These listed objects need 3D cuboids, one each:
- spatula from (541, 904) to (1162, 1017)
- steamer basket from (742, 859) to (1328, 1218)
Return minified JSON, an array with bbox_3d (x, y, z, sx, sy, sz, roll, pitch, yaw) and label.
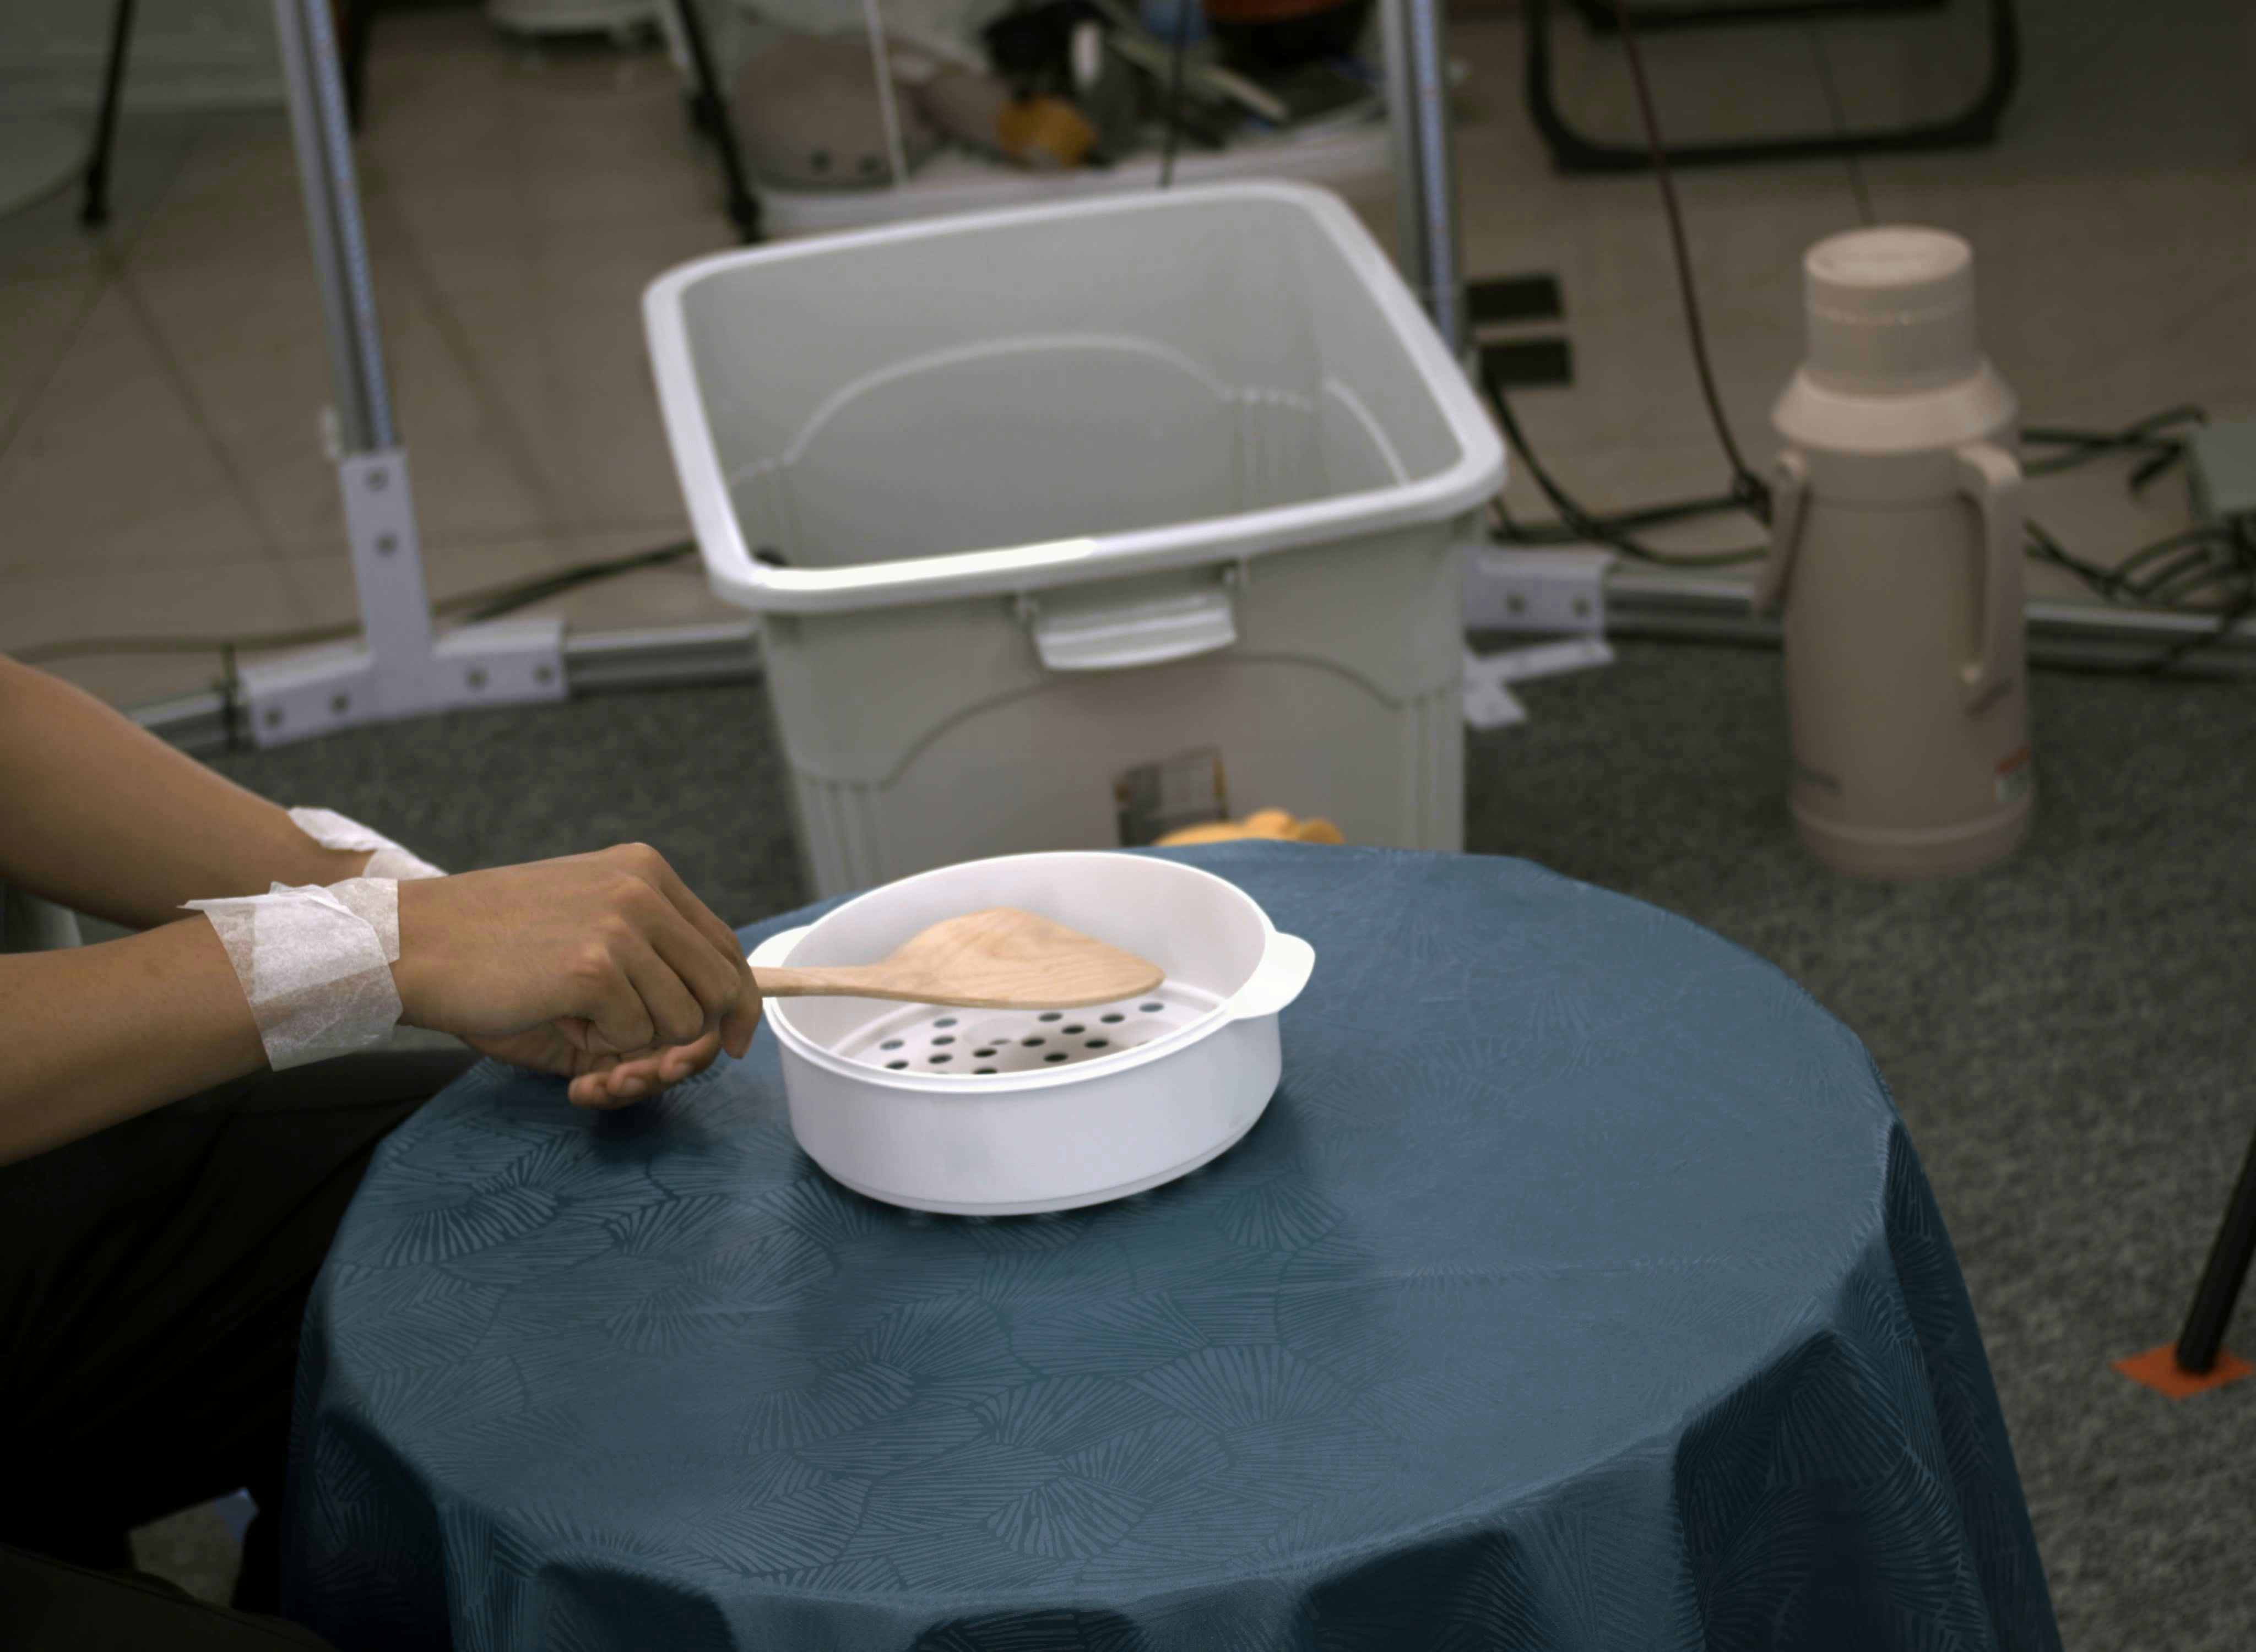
[{"bbox_3d":[-0.108,0.053,2.127,0.079,0.017,0.327,27,16,32],"label":"spatula"},{"bbox_3d":[-0.034,0.082,2.202,0.230,0.070,0.199,1,24,16],"label":"steamer basket"}]
